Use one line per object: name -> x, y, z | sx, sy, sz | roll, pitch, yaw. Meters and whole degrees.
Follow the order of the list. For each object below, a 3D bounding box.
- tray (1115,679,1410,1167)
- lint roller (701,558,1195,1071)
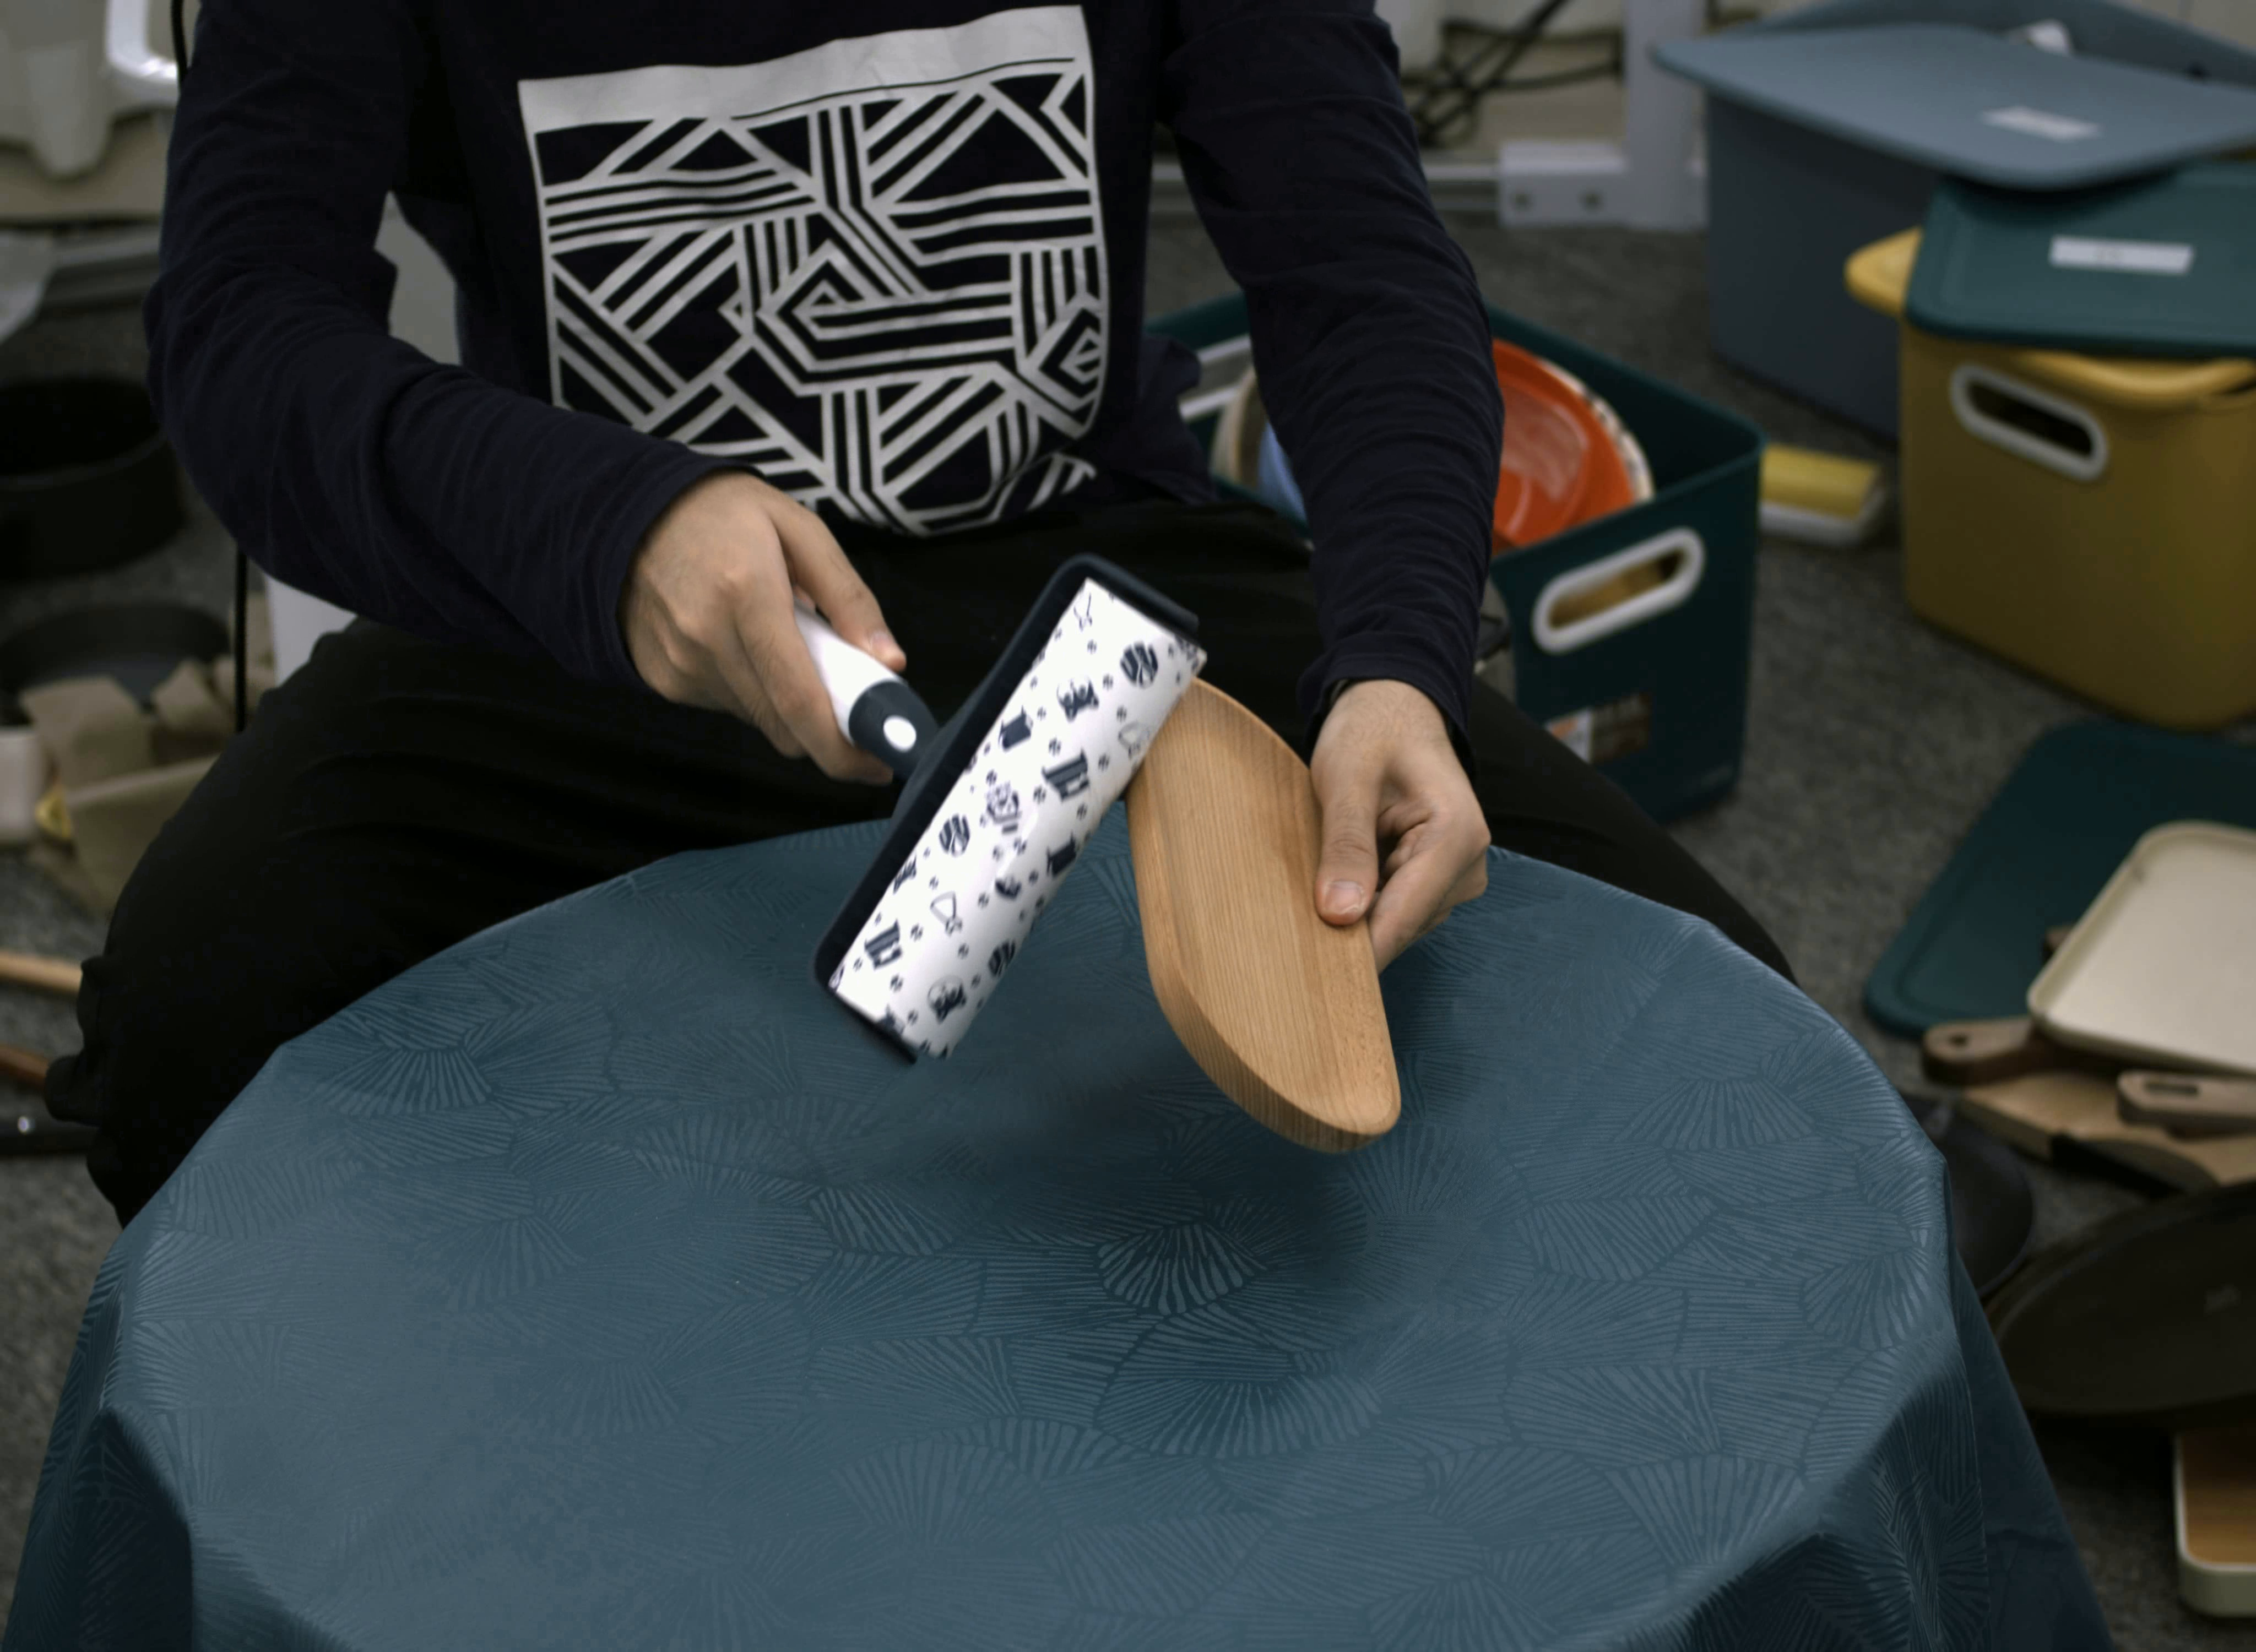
tray -> 0.041, 0.030, 1.850 | 0.101, 0.020, 0.235 | 31, 27, -25
lint roller -> -0.091, -0.038, 1.926 | 0.050, 0.176, 0.248 | 31, 3, -40
